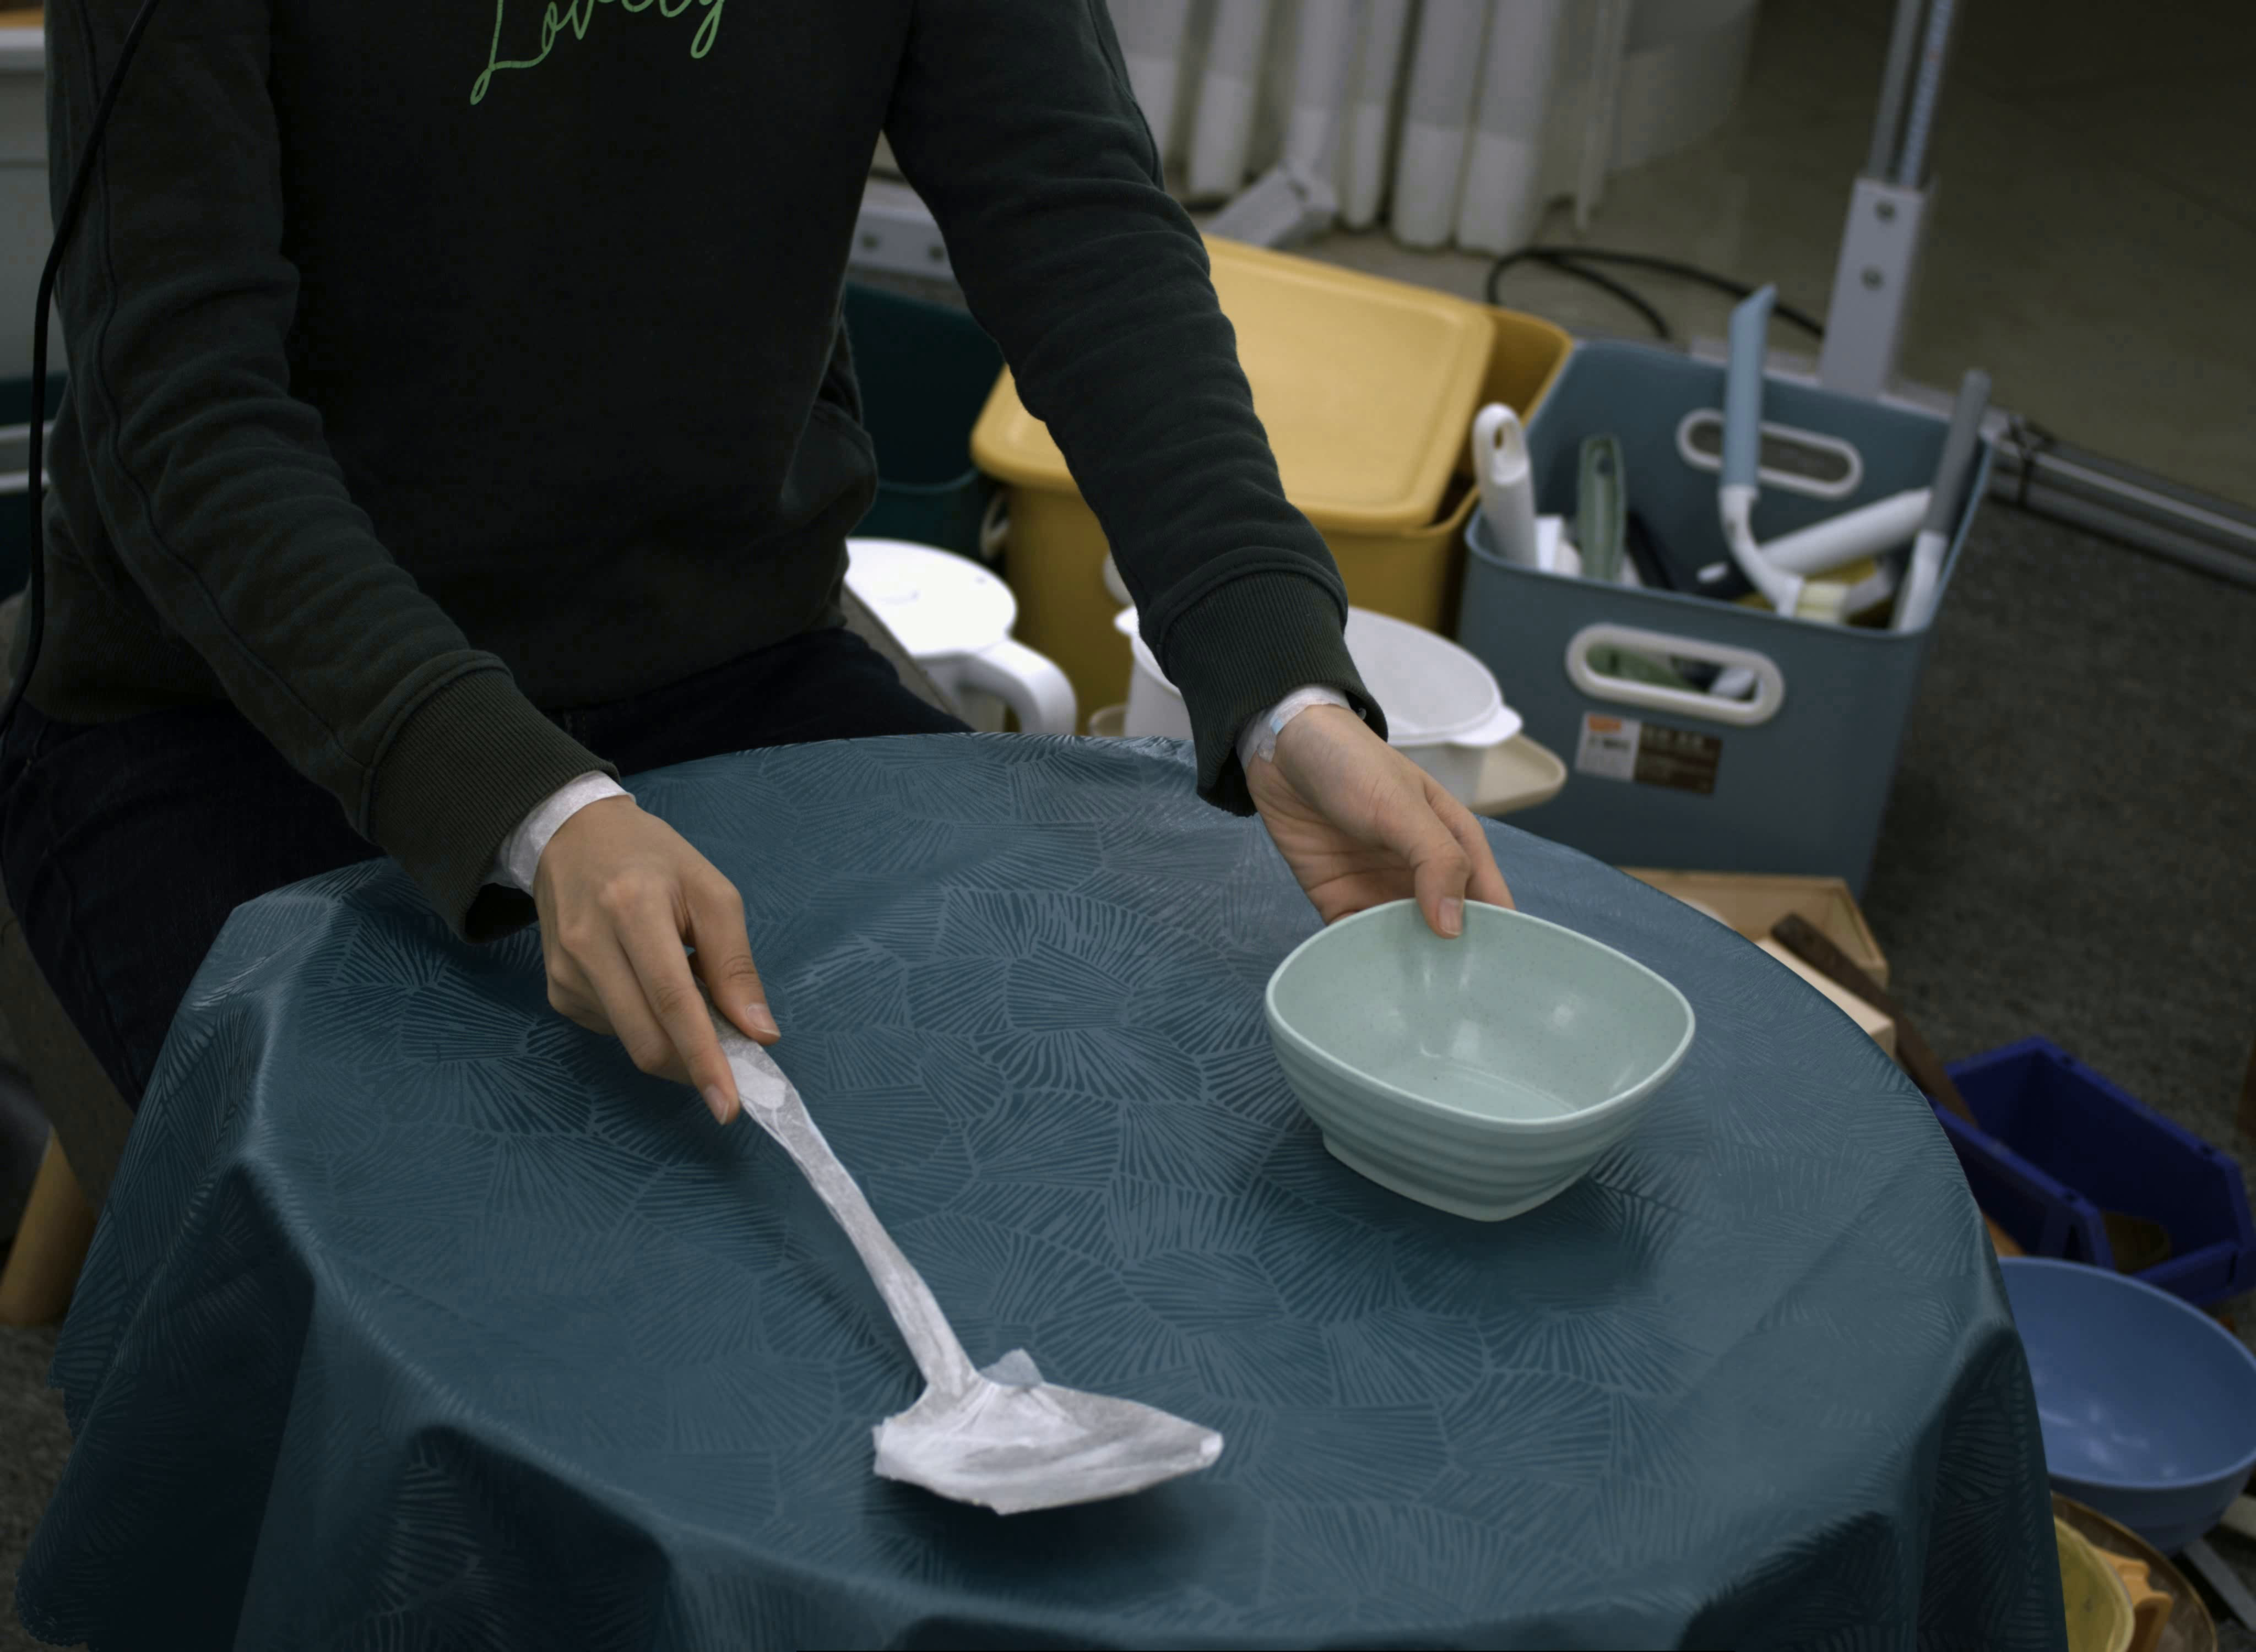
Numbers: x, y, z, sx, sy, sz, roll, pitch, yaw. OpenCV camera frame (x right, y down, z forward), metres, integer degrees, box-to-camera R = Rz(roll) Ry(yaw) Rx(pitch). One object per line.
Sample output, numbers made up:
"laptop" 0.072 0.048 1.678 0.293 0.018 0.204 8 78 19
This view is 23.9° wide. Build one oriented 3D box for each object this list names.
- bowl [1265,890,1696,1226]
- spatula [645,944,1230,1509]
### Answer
"bowl" 0.118 0.086 1.836 0.151 0.058 0.152 6 30 -4
"spatula" -0.086 0.120 1.725 0.098 0.044 0.368 -9 36 -25
